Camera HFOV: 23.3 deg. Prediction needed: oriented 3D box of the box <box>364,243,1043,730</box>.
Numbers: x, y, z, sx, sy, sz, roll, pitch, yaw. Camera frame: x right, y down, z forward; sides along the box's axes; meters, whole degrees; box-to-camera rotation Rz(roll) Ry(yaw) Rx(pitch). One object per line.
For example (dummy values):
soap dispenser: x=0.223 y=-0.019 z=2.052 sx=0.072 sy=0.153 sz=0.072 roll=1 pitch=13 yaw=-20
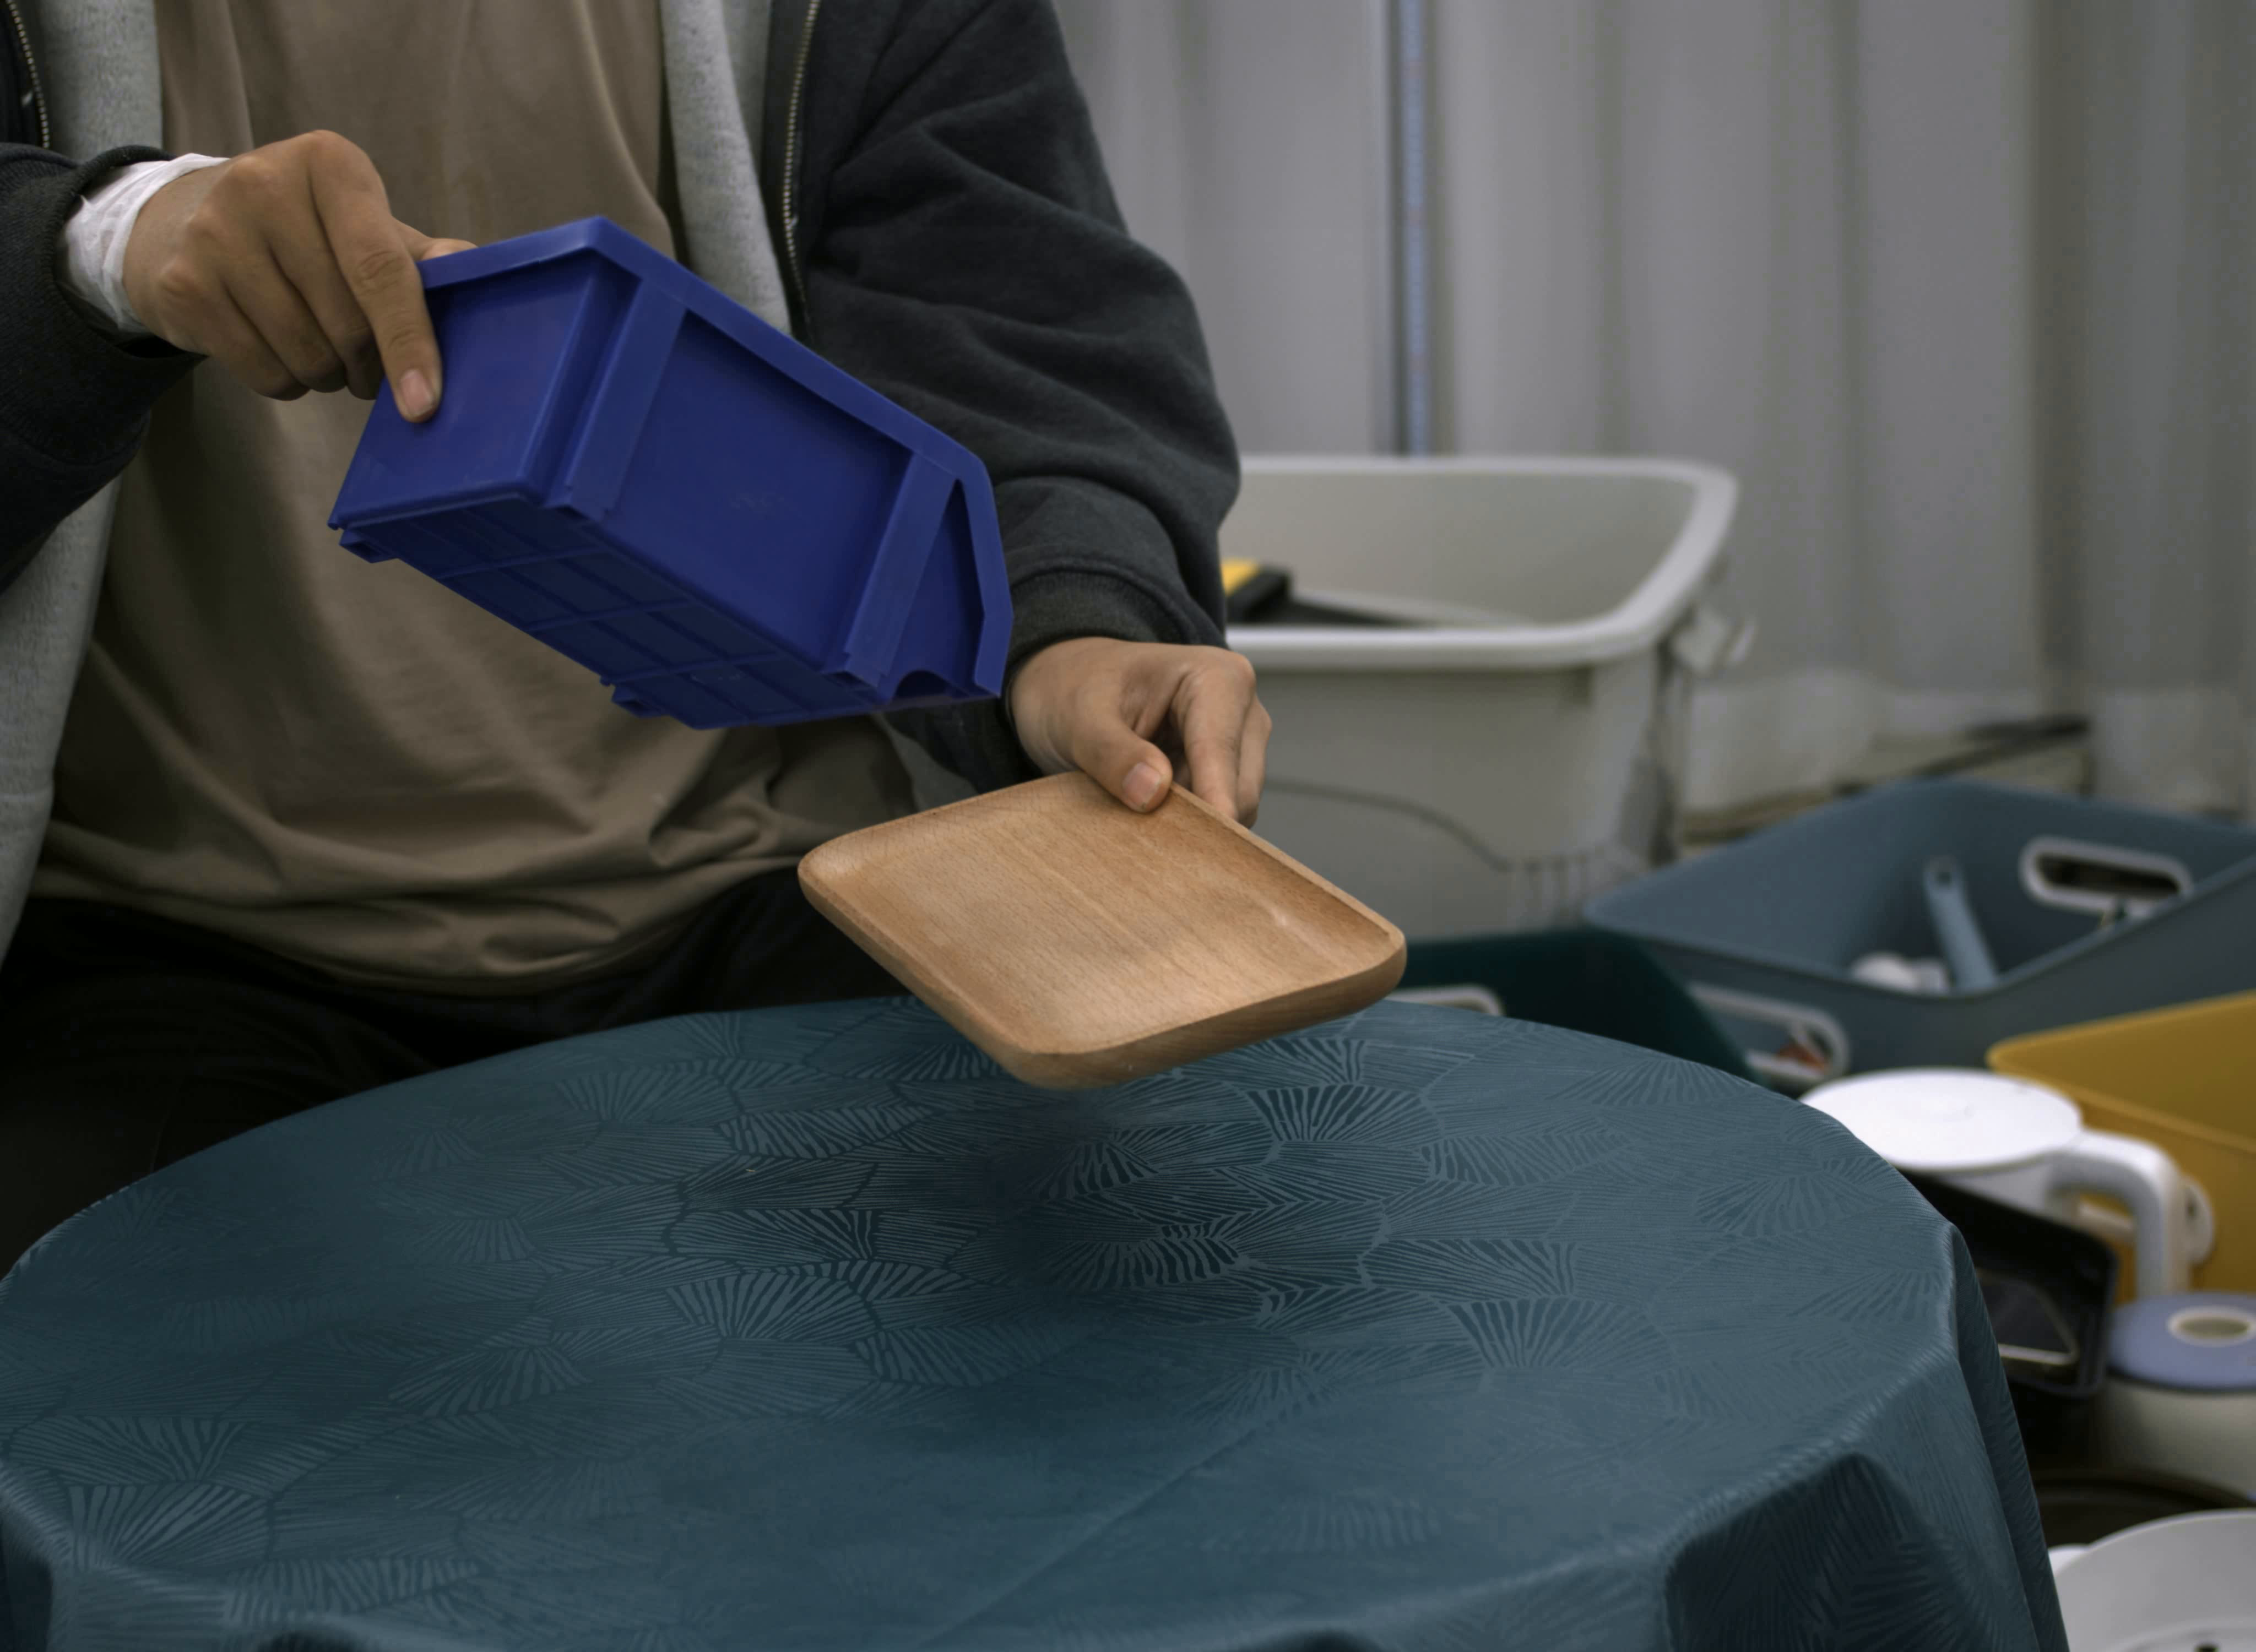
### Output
box: x=-0.126 y=-0.090 z=1.613 sx=0.177 sy=0.082 sz=0.124 roll=25 pitch=-19 yaw=-32

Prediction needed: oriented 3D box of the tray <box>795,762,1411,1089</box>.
tray: x=-0.012 y=0.028 z=1.675 sx=0.130 sy=0.023 sz=0.253 roll=-13 pitch=18 yaw=-17
